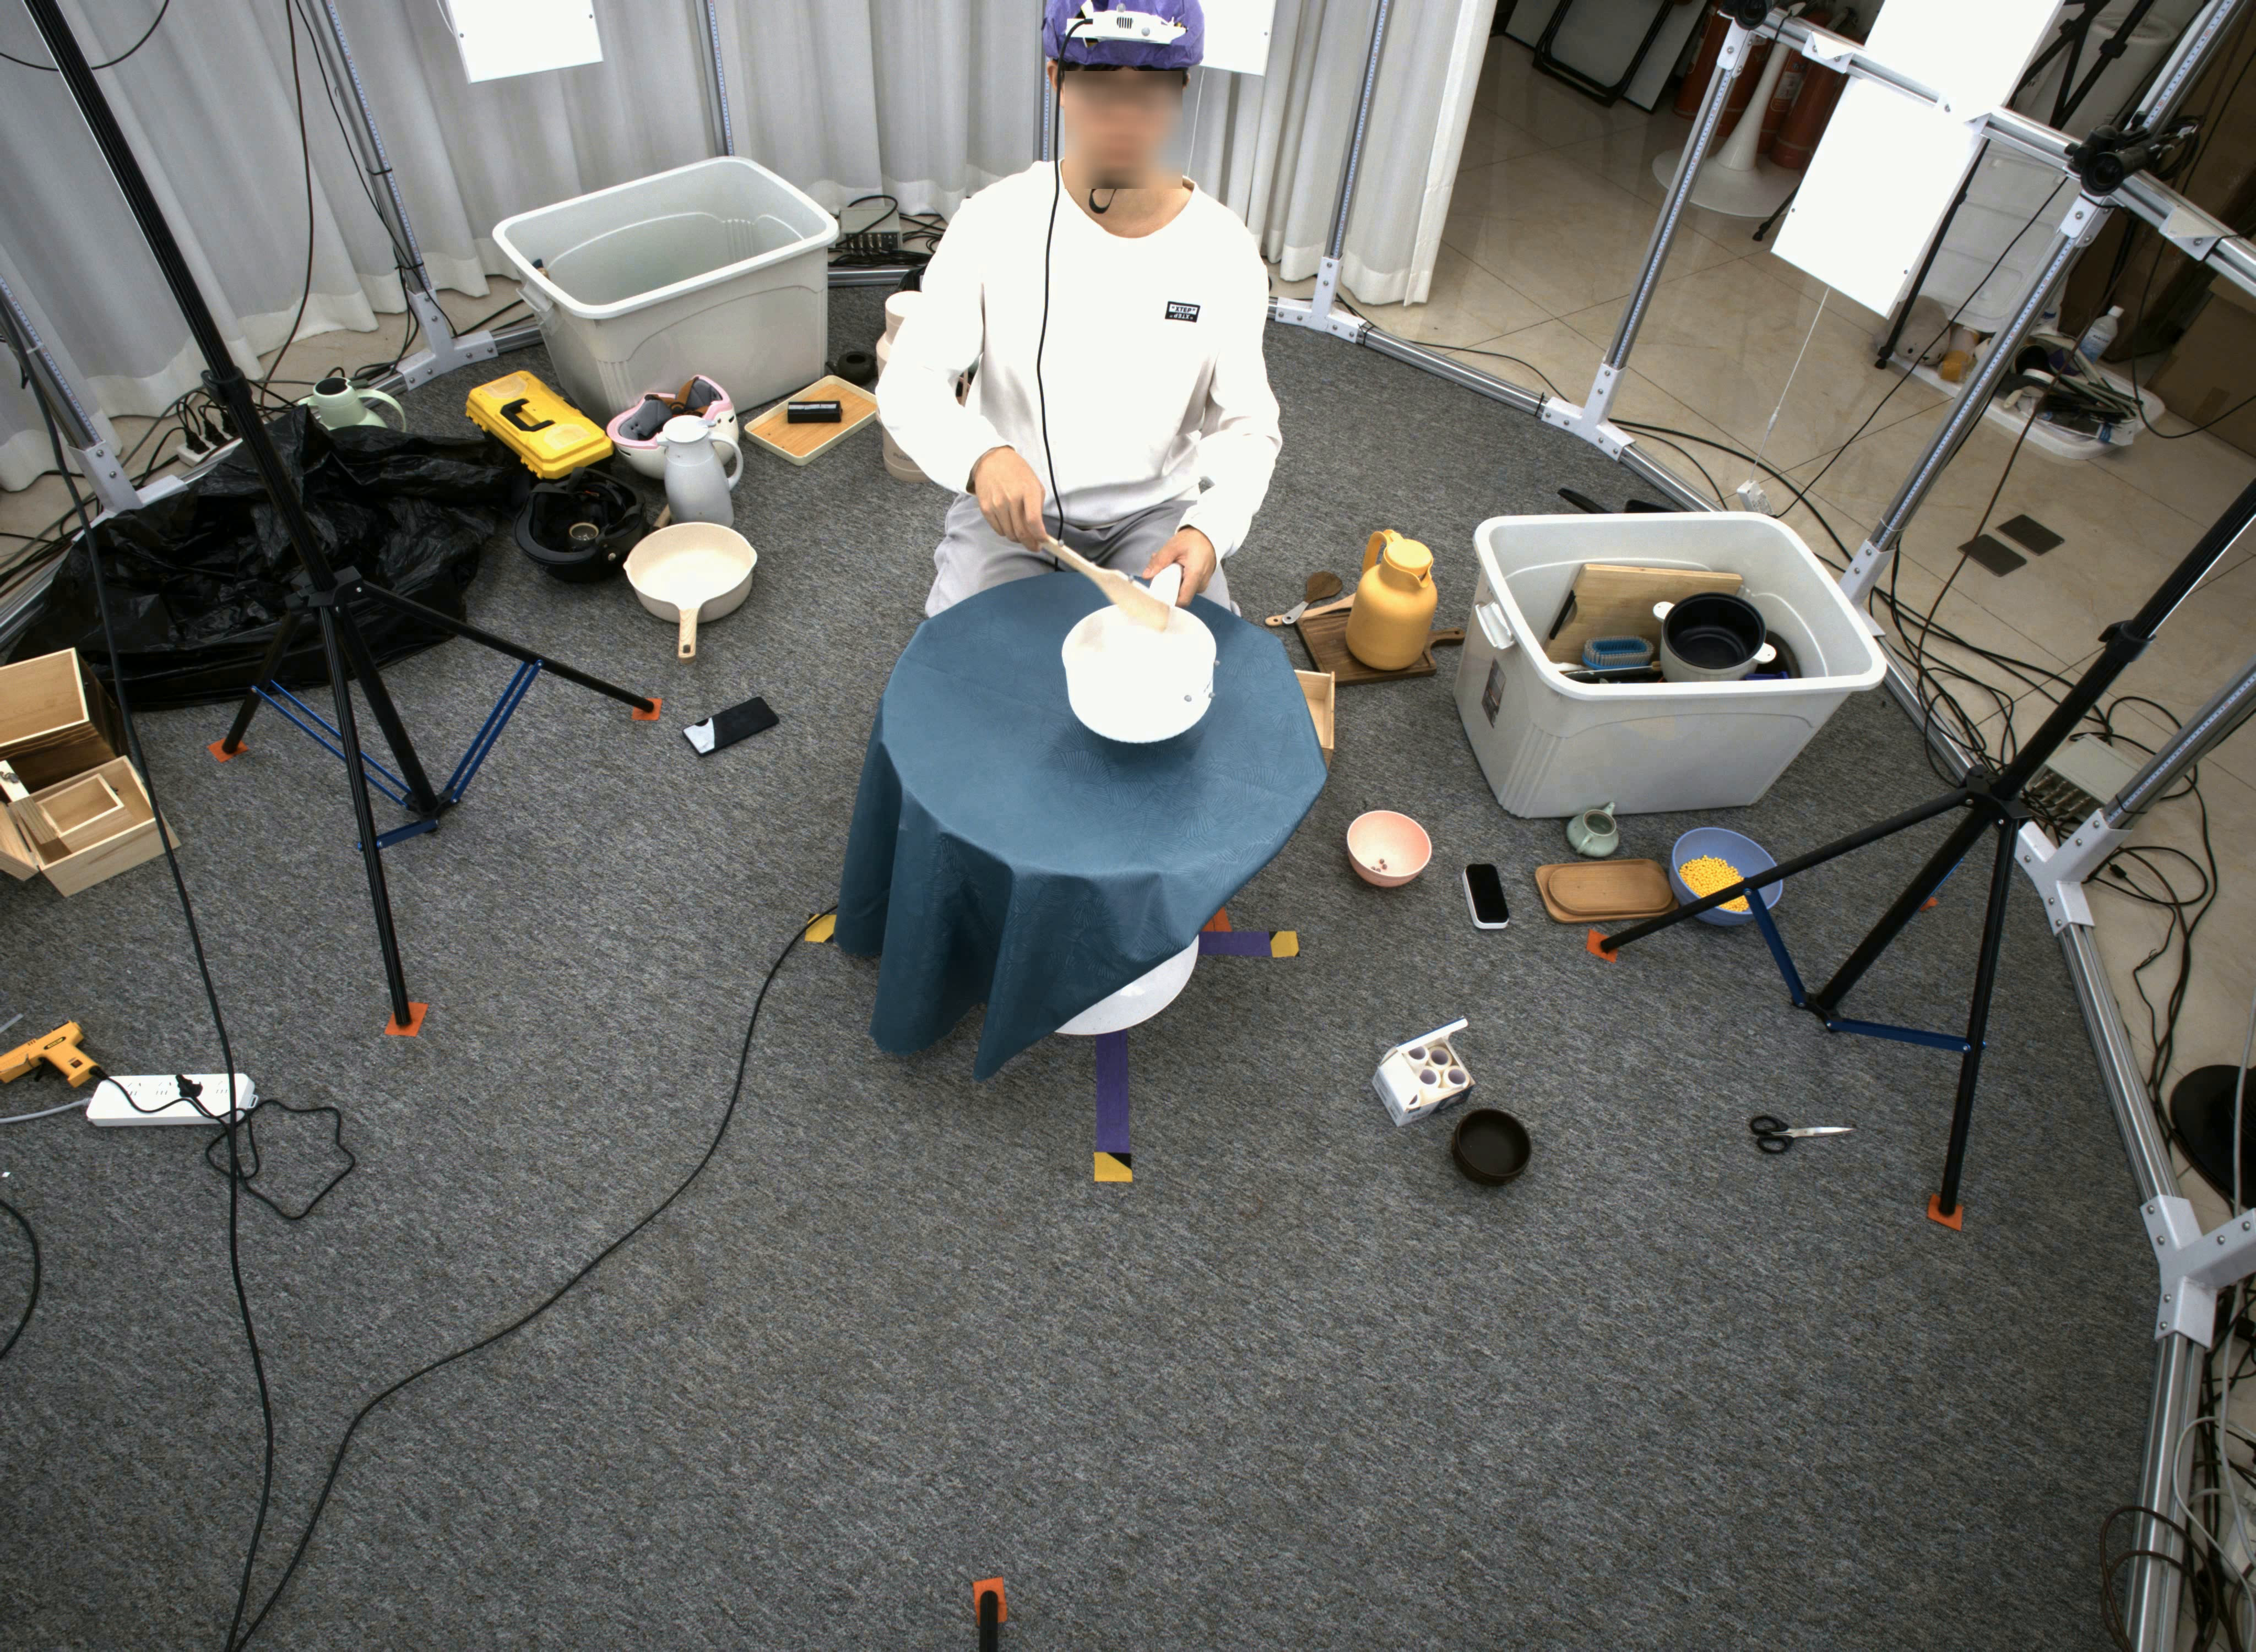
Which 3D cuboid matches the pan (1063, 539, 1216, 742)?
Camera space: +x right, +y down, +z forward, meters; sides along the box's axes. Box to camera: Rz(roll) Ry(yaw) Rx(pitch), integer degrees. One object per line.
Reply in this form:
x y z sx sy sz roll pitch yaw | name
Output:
0.035 -0.256 1.764 0.202 0.099 0.363 8 46 11 | pan

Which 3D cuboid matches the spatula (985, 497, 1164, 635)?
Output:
-0.074 -0.351 1.707 0.295 0.071 0.011 36 67 11 | spatula
